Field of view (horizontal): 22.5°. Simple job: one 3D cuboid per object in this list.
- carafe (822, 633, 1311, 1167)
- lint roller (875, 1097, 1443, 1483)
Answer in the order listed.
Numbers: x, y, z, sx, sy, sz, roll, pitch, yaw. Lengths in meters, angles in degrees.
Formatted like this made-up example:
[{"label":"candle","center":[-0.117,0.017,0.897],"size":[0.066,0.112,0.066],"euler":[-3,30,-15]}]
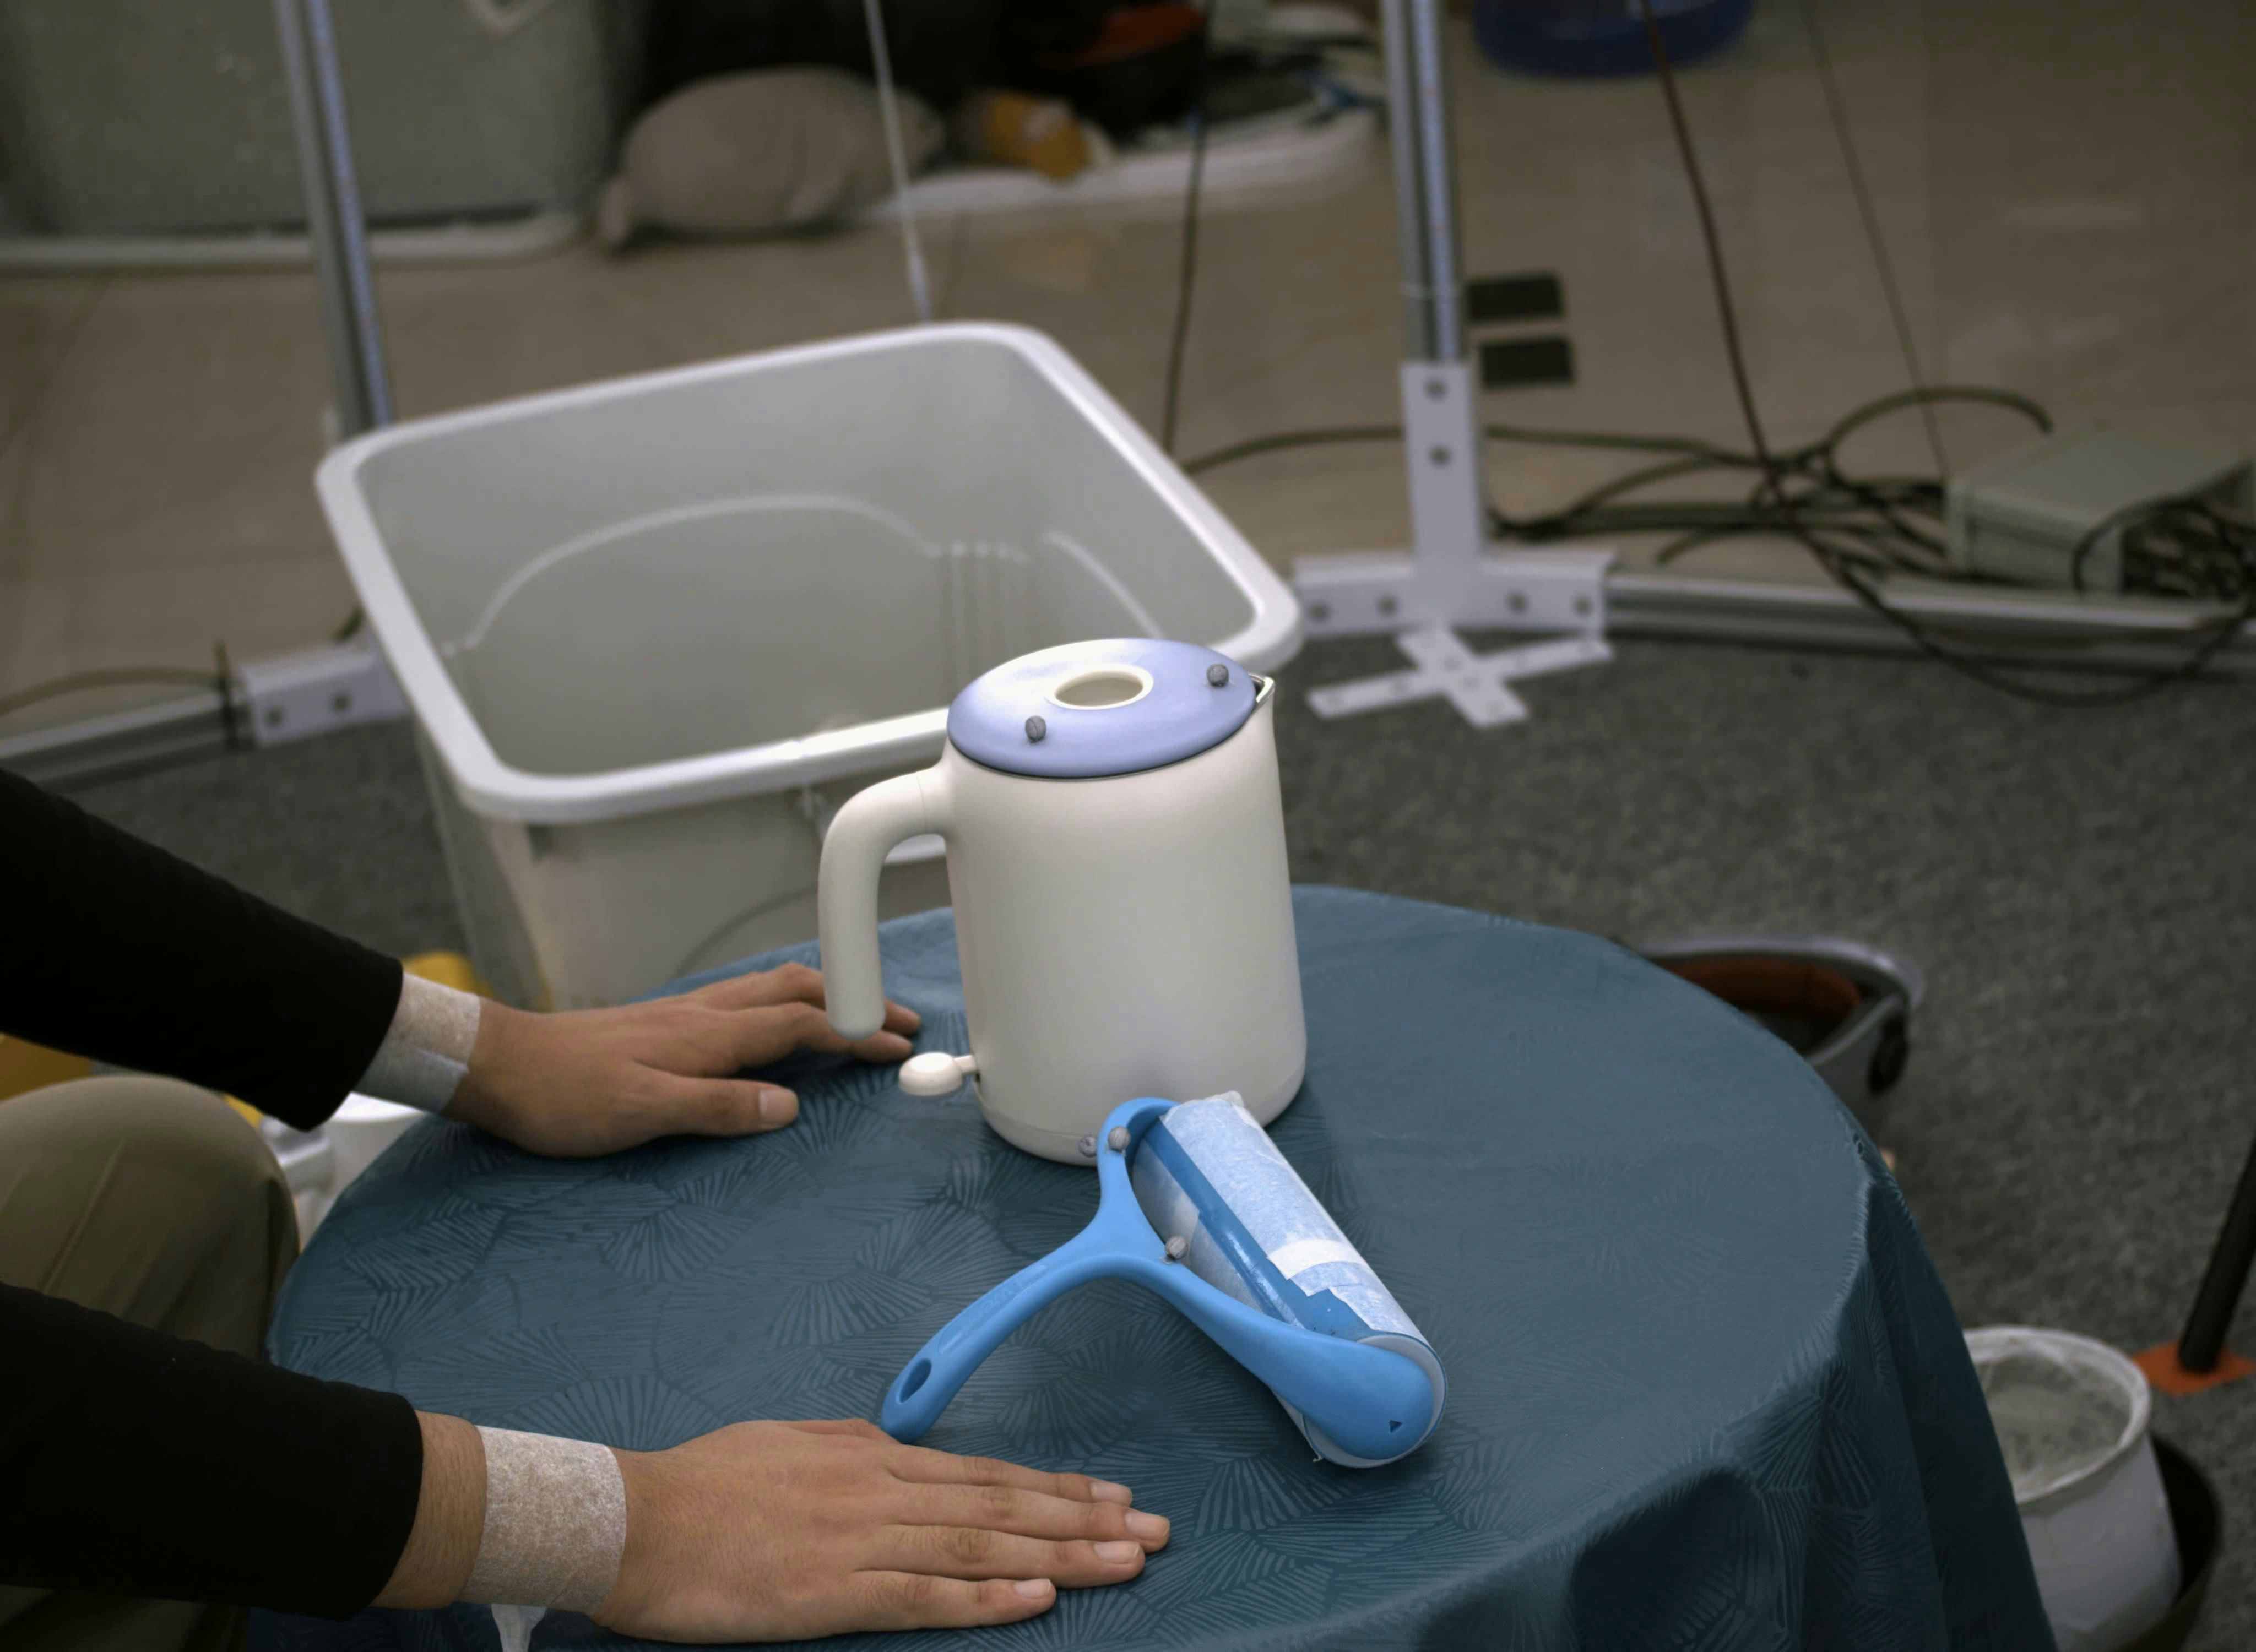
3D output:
[{"label":"carafe","center":[-0.025,0.034,2.174],"size":[0.190,0.185,0.130],"euler":[-14,26,-10]},{"label":"lint roller","center":[-0.002,0.172,2.008],"size":[0.180,0.069,0.225],"euler":[-9,28,-18]}]
